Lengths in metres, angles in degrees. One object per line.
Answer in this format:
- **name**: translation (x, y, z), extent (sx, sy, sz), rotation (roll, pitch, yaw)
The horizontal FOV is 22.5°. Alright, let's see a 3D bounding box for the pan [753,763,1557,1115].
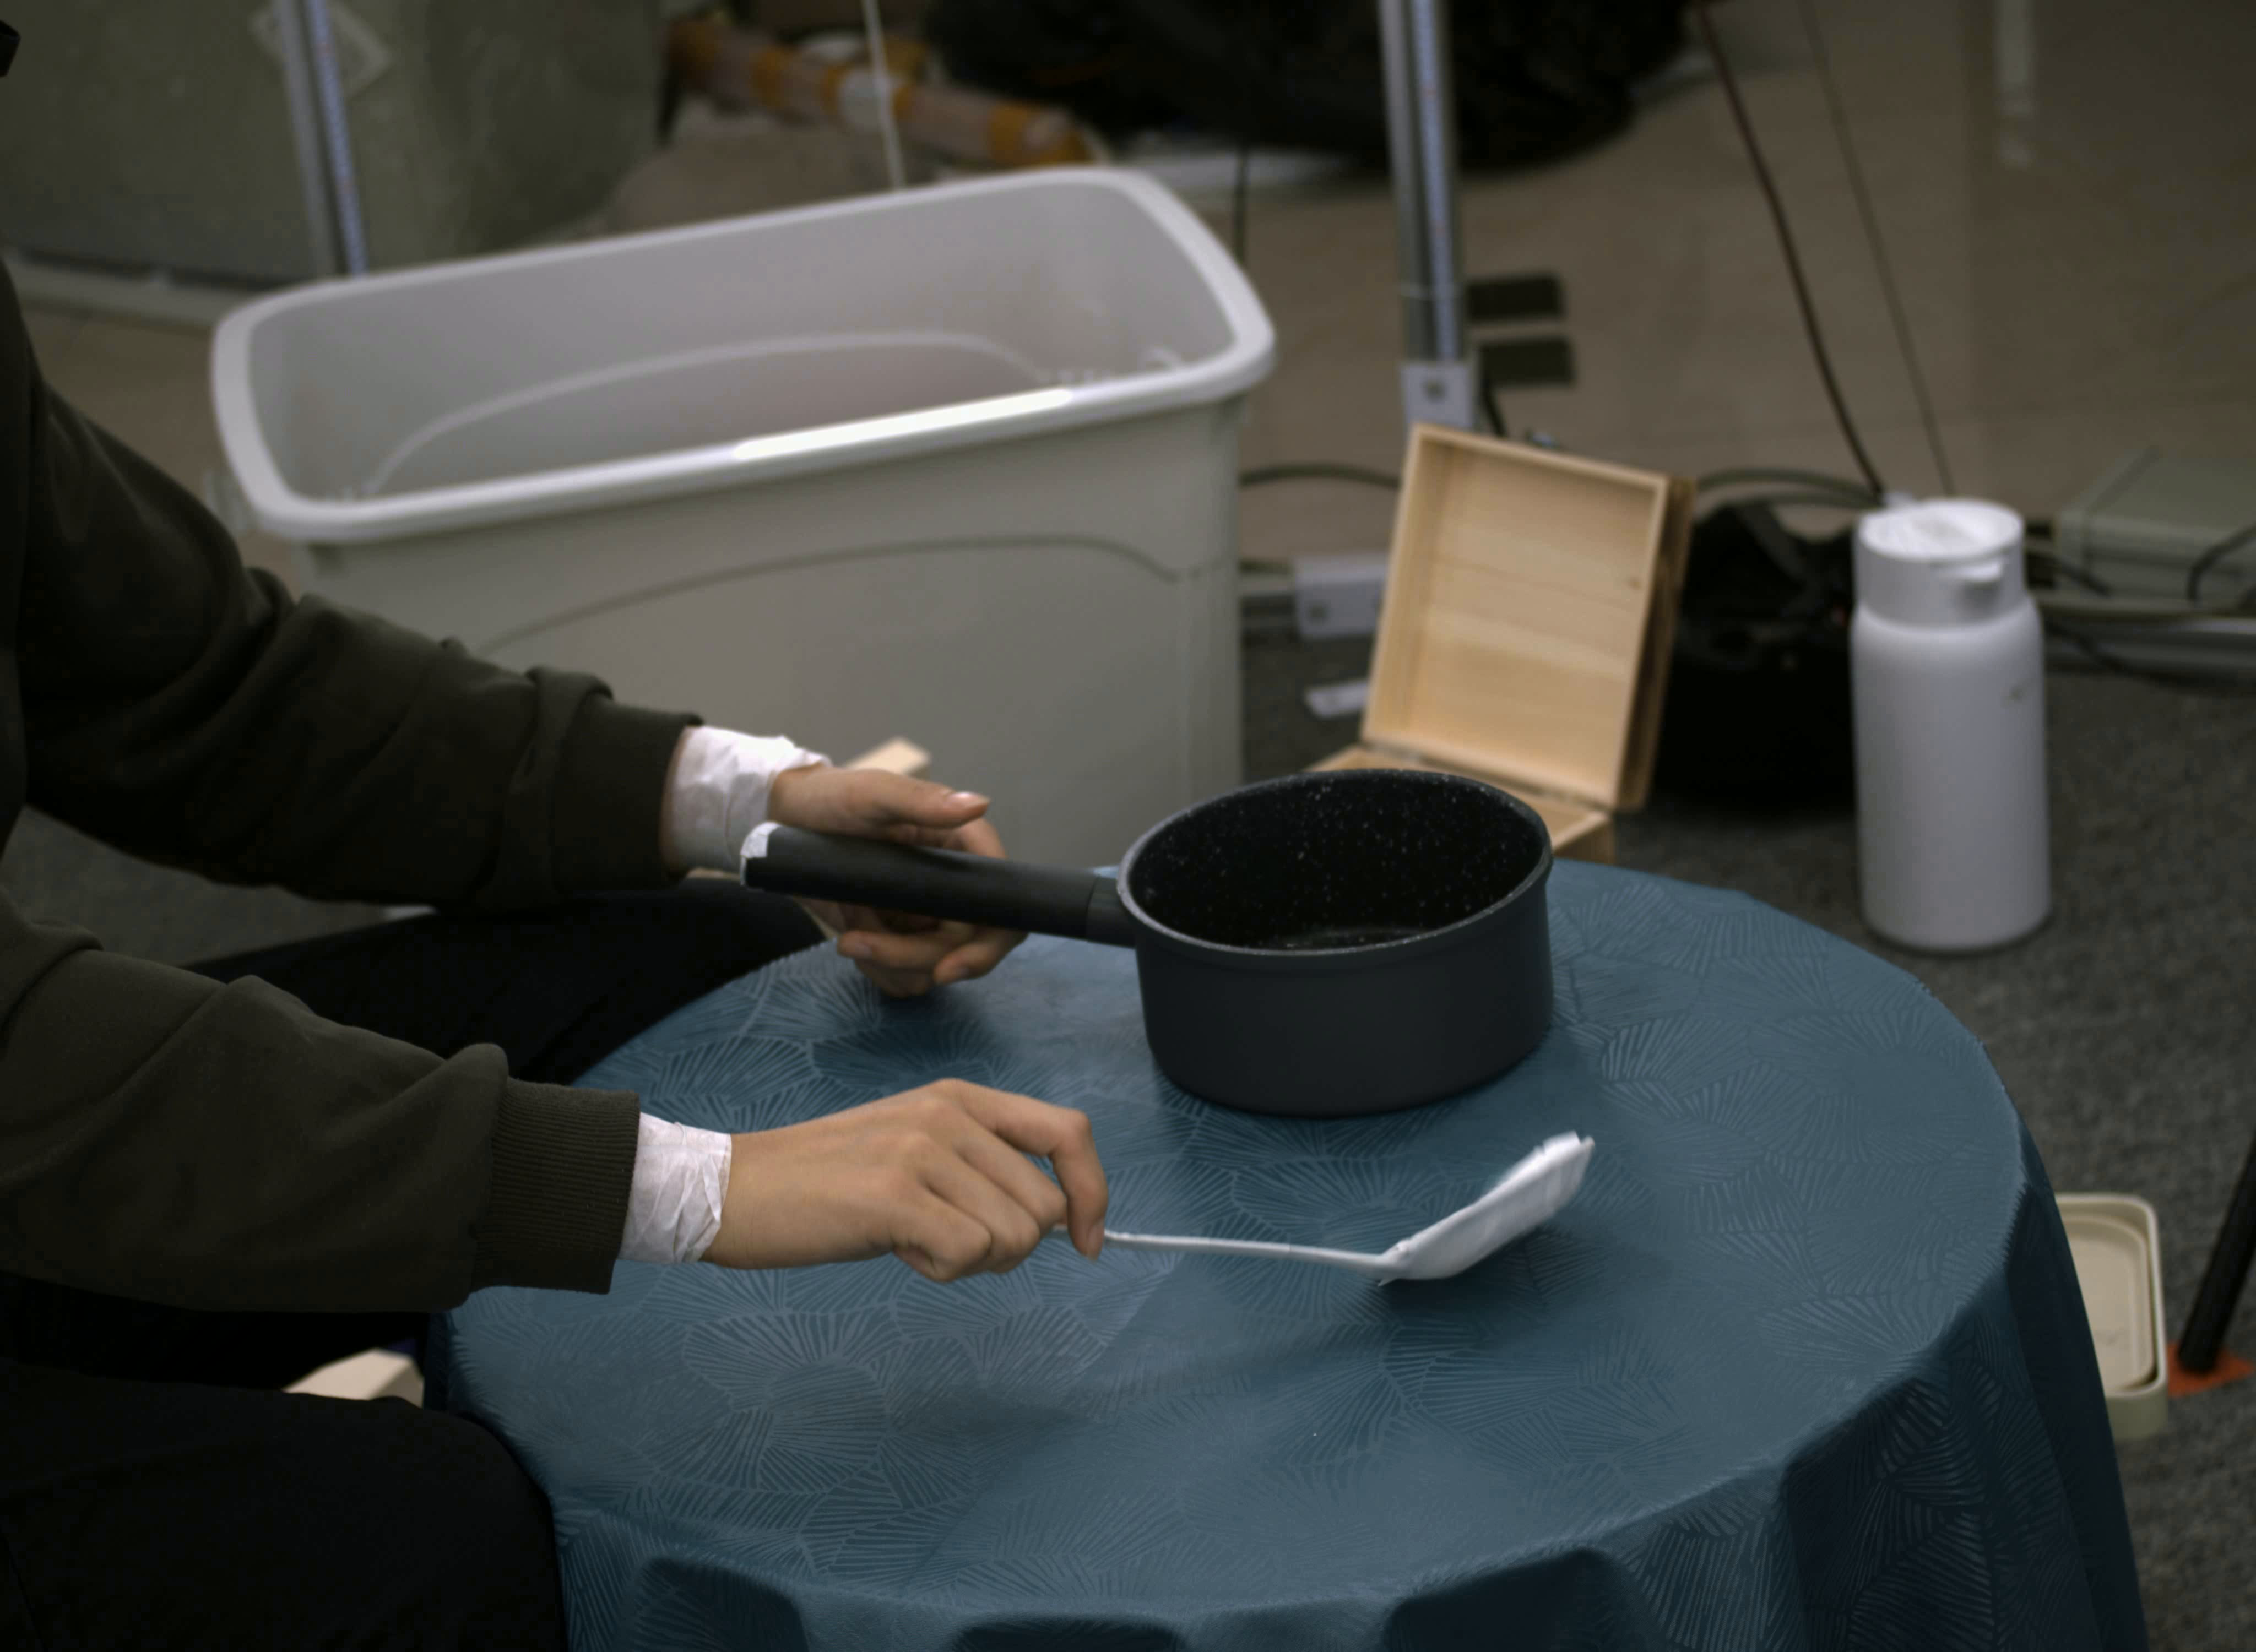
- **pan**: translation (0.010, 0.041, 2.259), extent (0.328, 0.088, 0.169), rotation (2, 25, 17)

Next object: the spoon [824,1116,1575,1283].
- **spoon**: translation (0.027, 0.134, 2.036), extent (0.277, 0.102, 0.058), rotation (2, 65, -11)
